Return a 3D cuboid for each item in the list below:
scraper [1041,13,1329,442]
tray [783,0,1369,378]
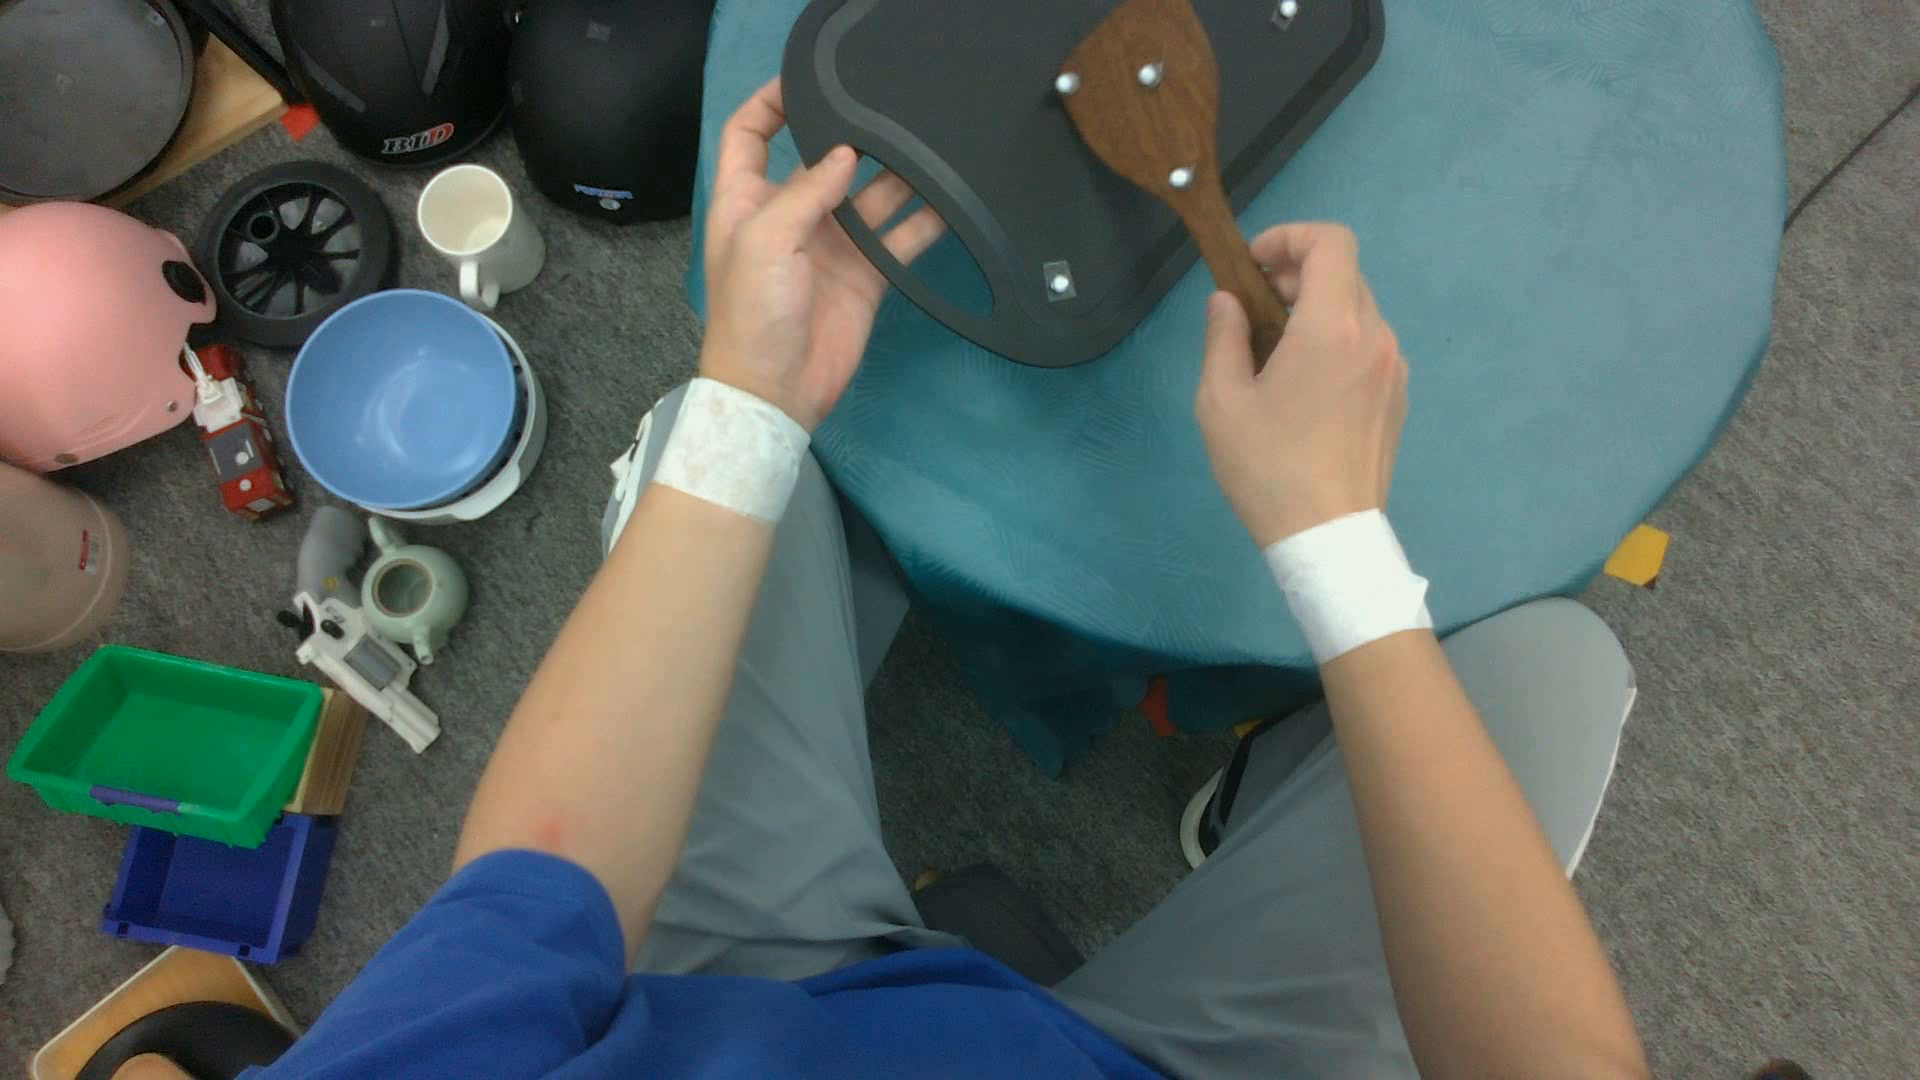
[{"bbox_3d":[0.112,-0.141,0.642,0.075,0.011,0.211,-32,80,29],"label":"scraper"},{"bbox_3d":[0.067,-0.233,0.687,0.211,0.010,0.326,45,71,-9],"label":"tray"}]
